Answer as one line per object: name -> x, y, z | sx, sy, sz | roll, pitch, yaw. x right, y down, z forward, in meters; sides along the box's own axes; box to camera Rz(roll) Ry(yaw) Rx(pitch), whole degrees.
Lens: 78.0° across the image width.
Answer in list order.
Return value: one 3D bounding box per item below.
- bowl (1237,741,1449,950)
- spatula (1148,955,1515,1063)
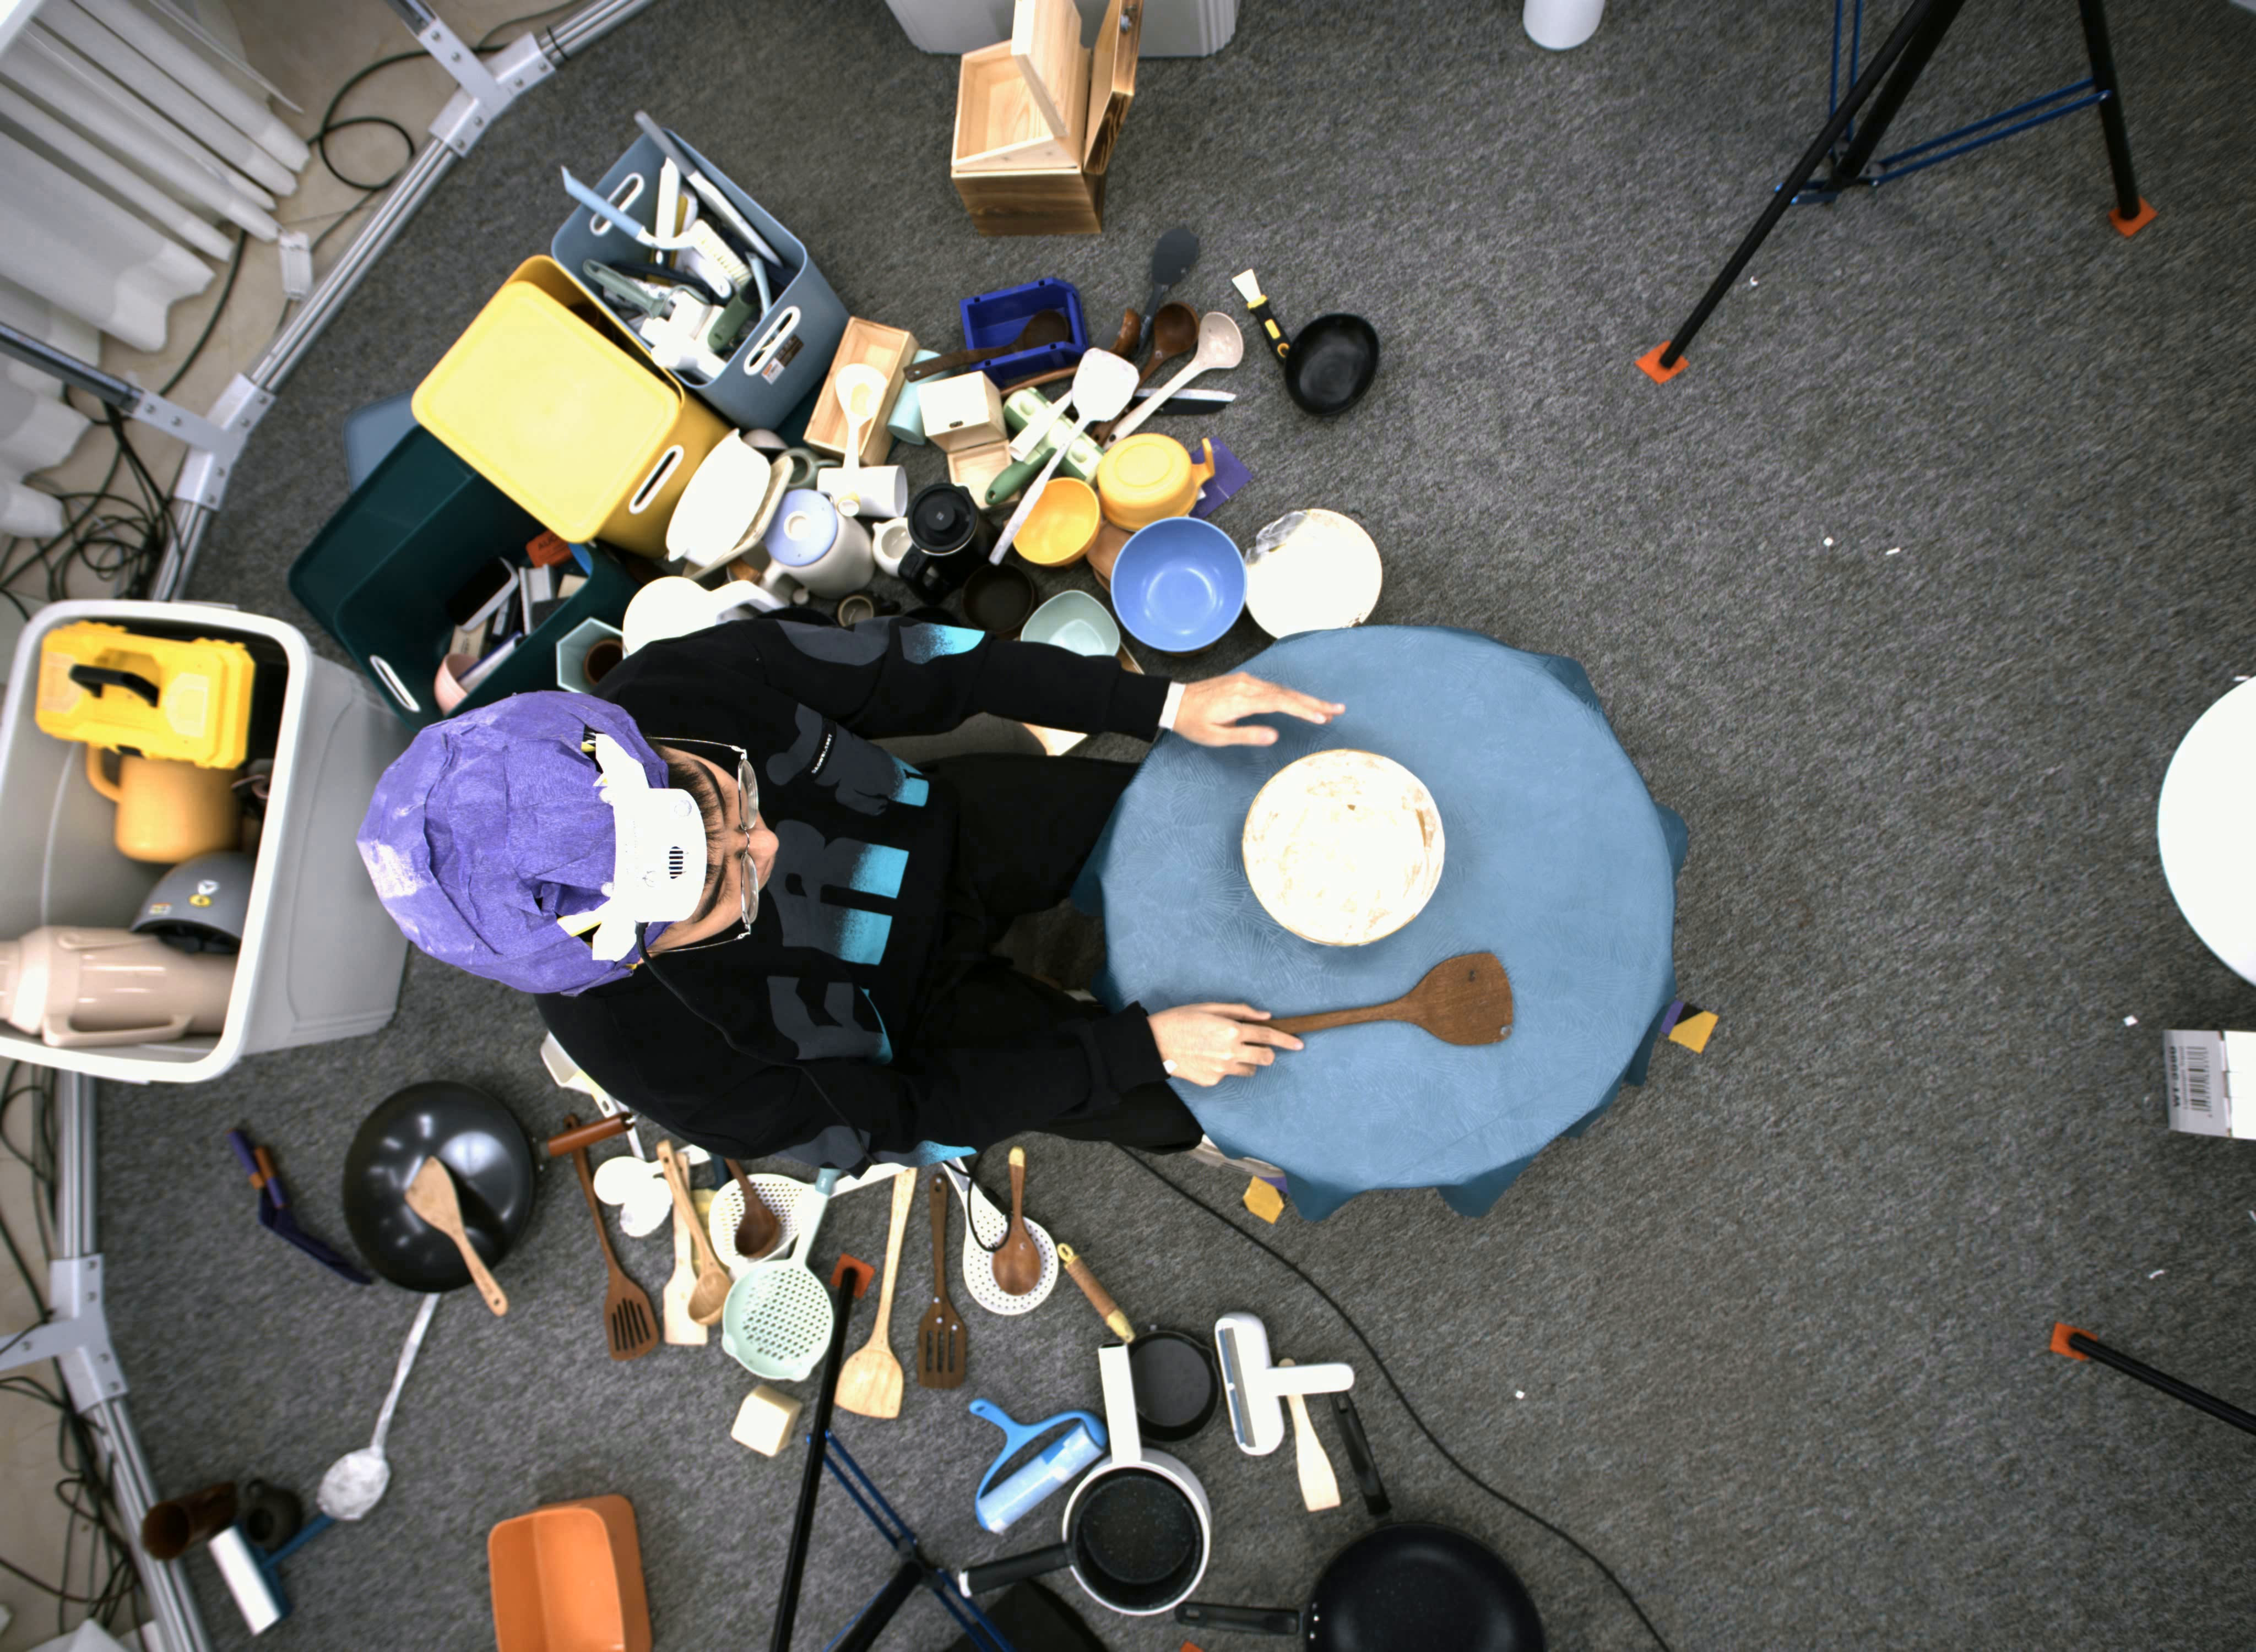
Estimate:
bowl -> 0.223, 0.025, 1.430 | 0.215, 0.094, 0.214 | -1, 87, 11
spatula -> 0.210, 0.207, 1.452 | 0.387, 0.016, 0.095 | -9, 84, 6
